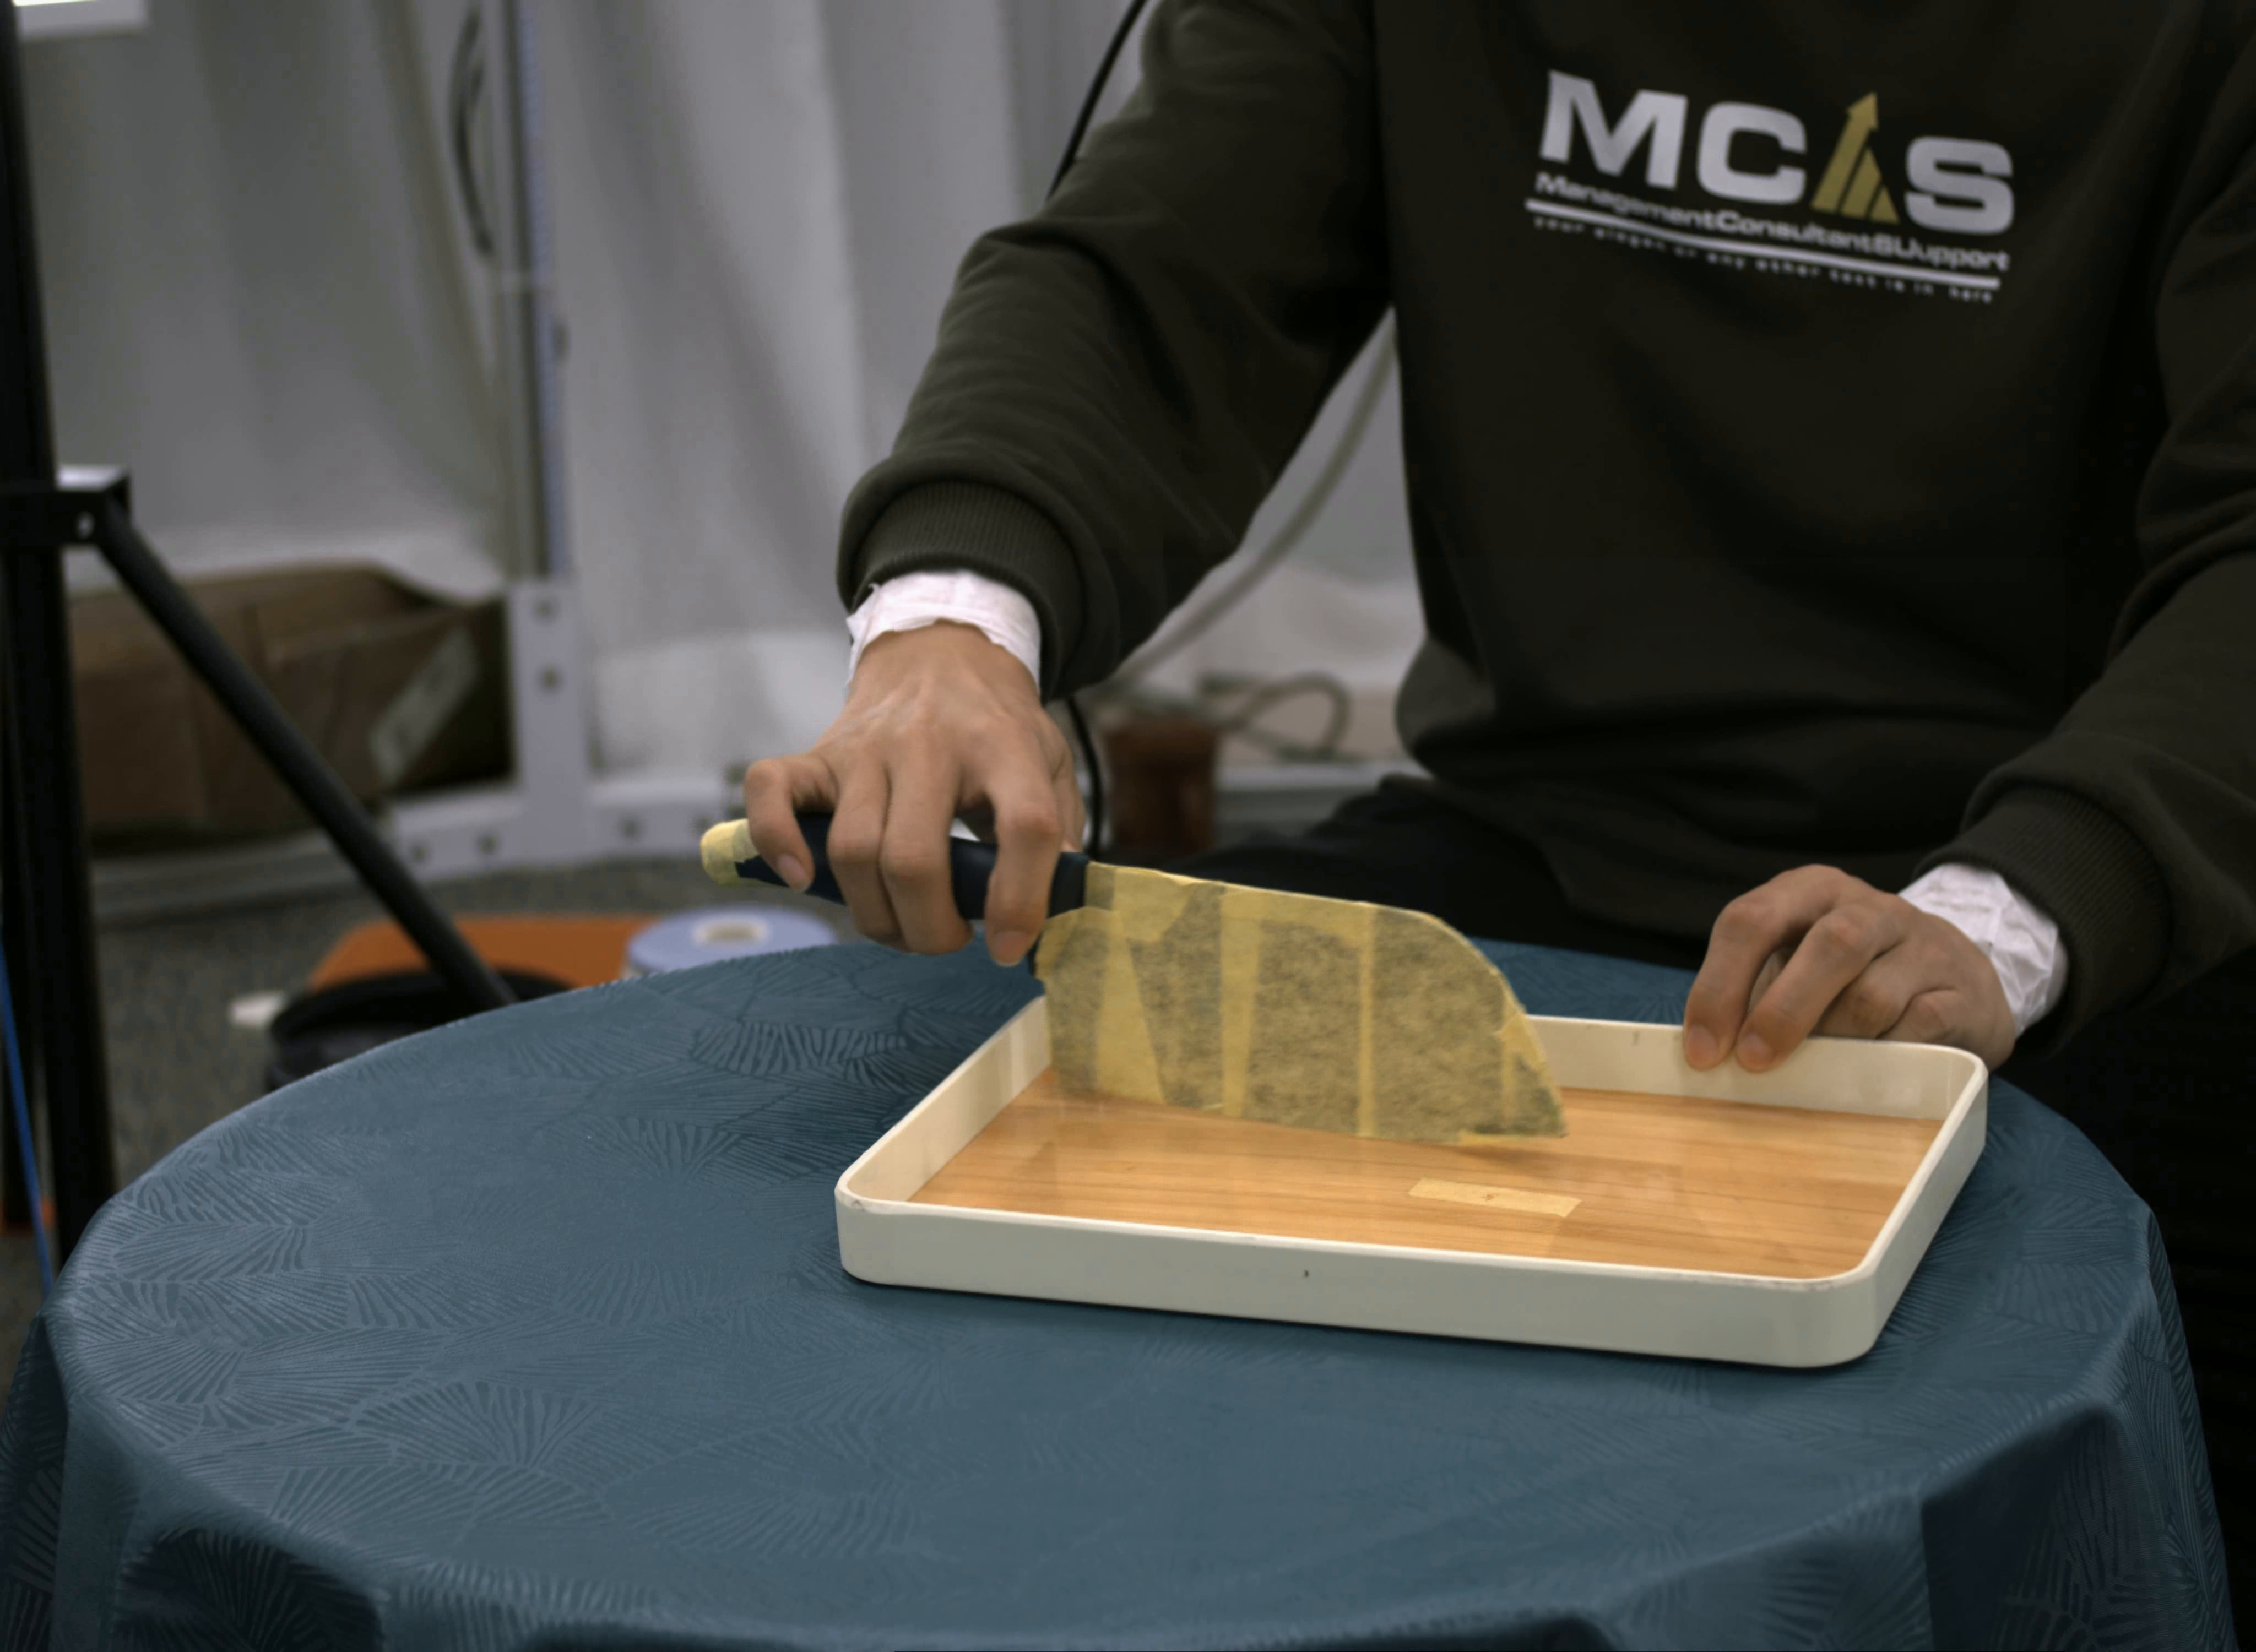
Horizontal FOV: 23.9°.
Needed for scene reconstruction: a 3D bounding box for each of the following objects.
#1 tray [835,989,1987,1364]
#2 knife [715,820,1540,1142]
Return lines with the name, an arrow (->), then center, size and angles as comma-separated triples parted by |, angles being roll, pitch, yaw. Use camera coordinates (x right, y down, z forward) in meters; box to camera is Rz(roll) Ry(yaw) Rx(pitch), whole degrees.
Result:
tray -> 0.084, 0.098, 1.525 | 0.304, 0.027, 0.189 | 4, 18, 21
knife -> -0.004, 0.045, 1.599 | 0.295, 0.081, 0.026 | 13, 15, 31
